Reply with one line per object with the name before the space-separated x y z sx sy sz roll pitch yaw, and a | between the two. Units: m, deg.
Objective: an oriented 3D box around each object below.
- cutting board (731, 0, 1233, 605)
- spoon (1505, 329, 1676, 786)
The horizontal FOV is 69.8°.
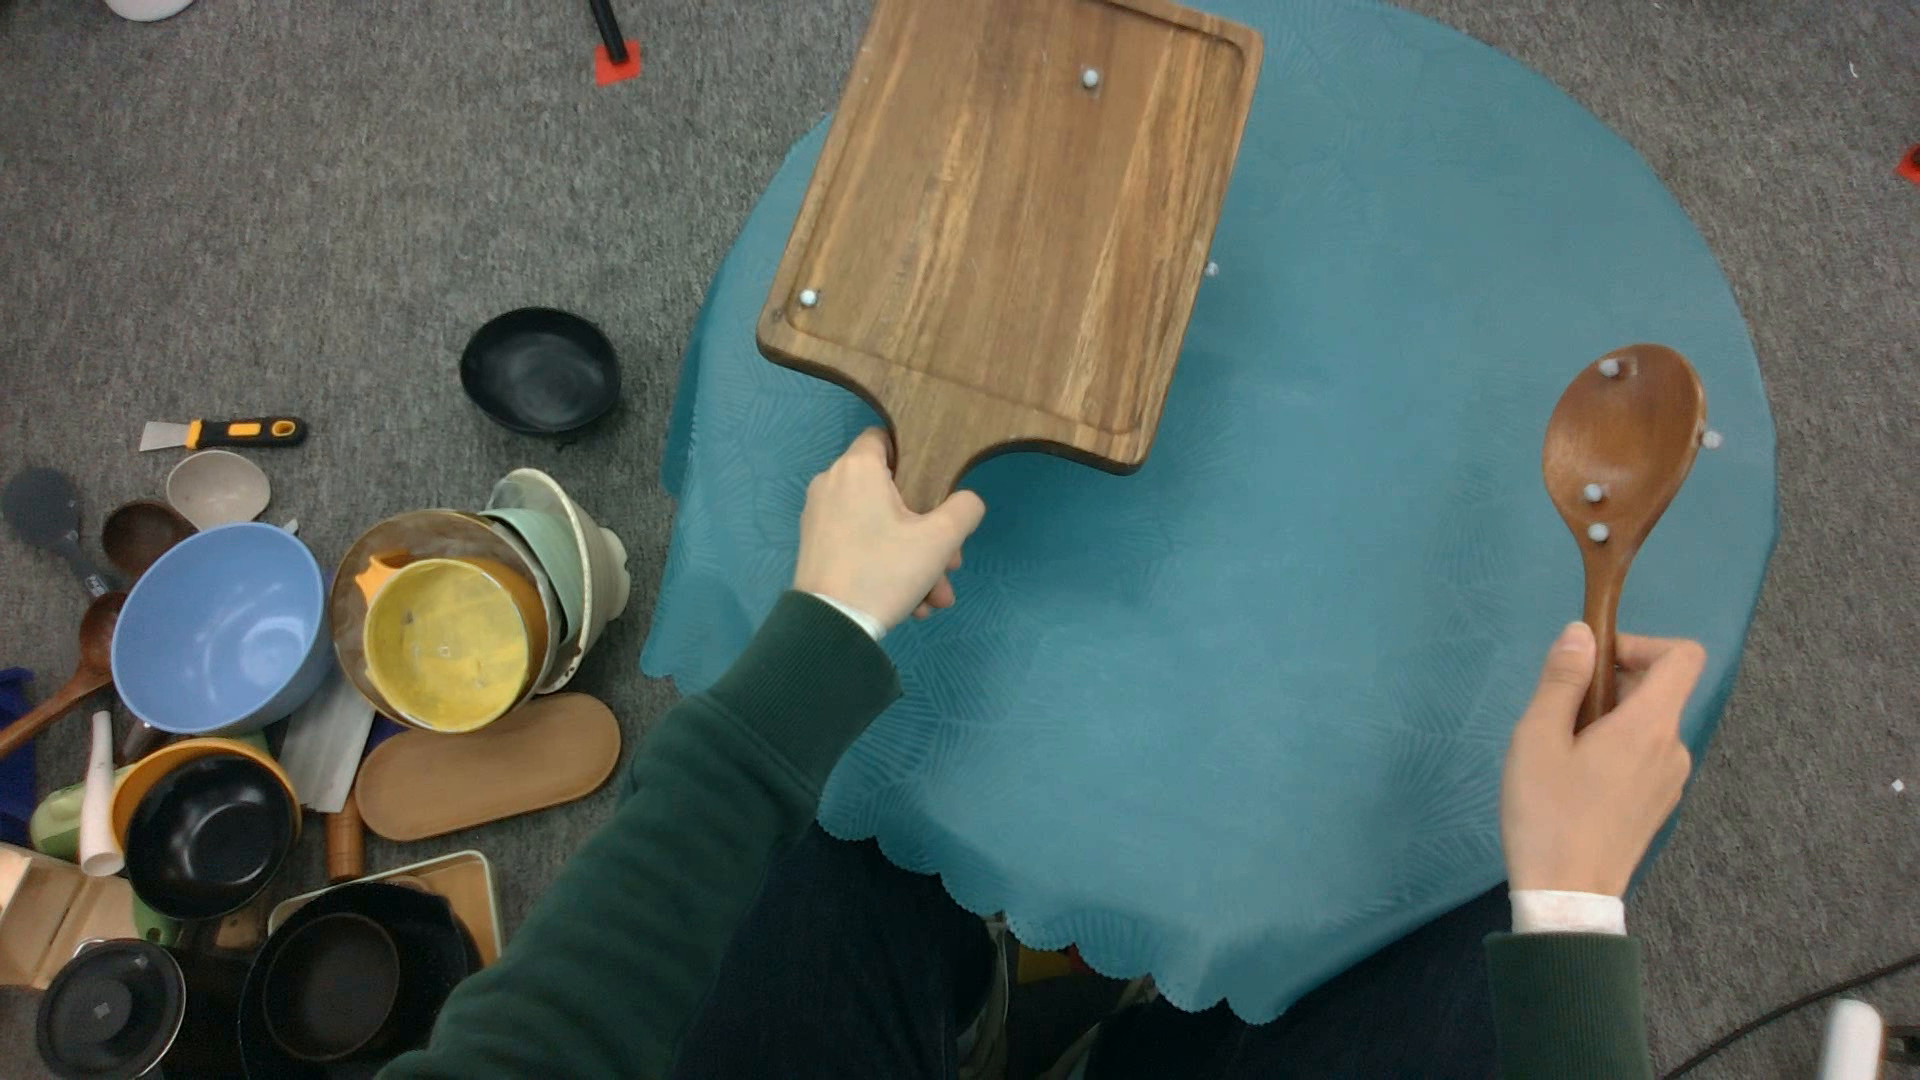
cutting board | 0.004 -0.136 0.674 0.201 0.023 0.353 18 74 -3
spoon | 0.272 0.004 0.611 0.075 0.017 0.216 -5 63 48
